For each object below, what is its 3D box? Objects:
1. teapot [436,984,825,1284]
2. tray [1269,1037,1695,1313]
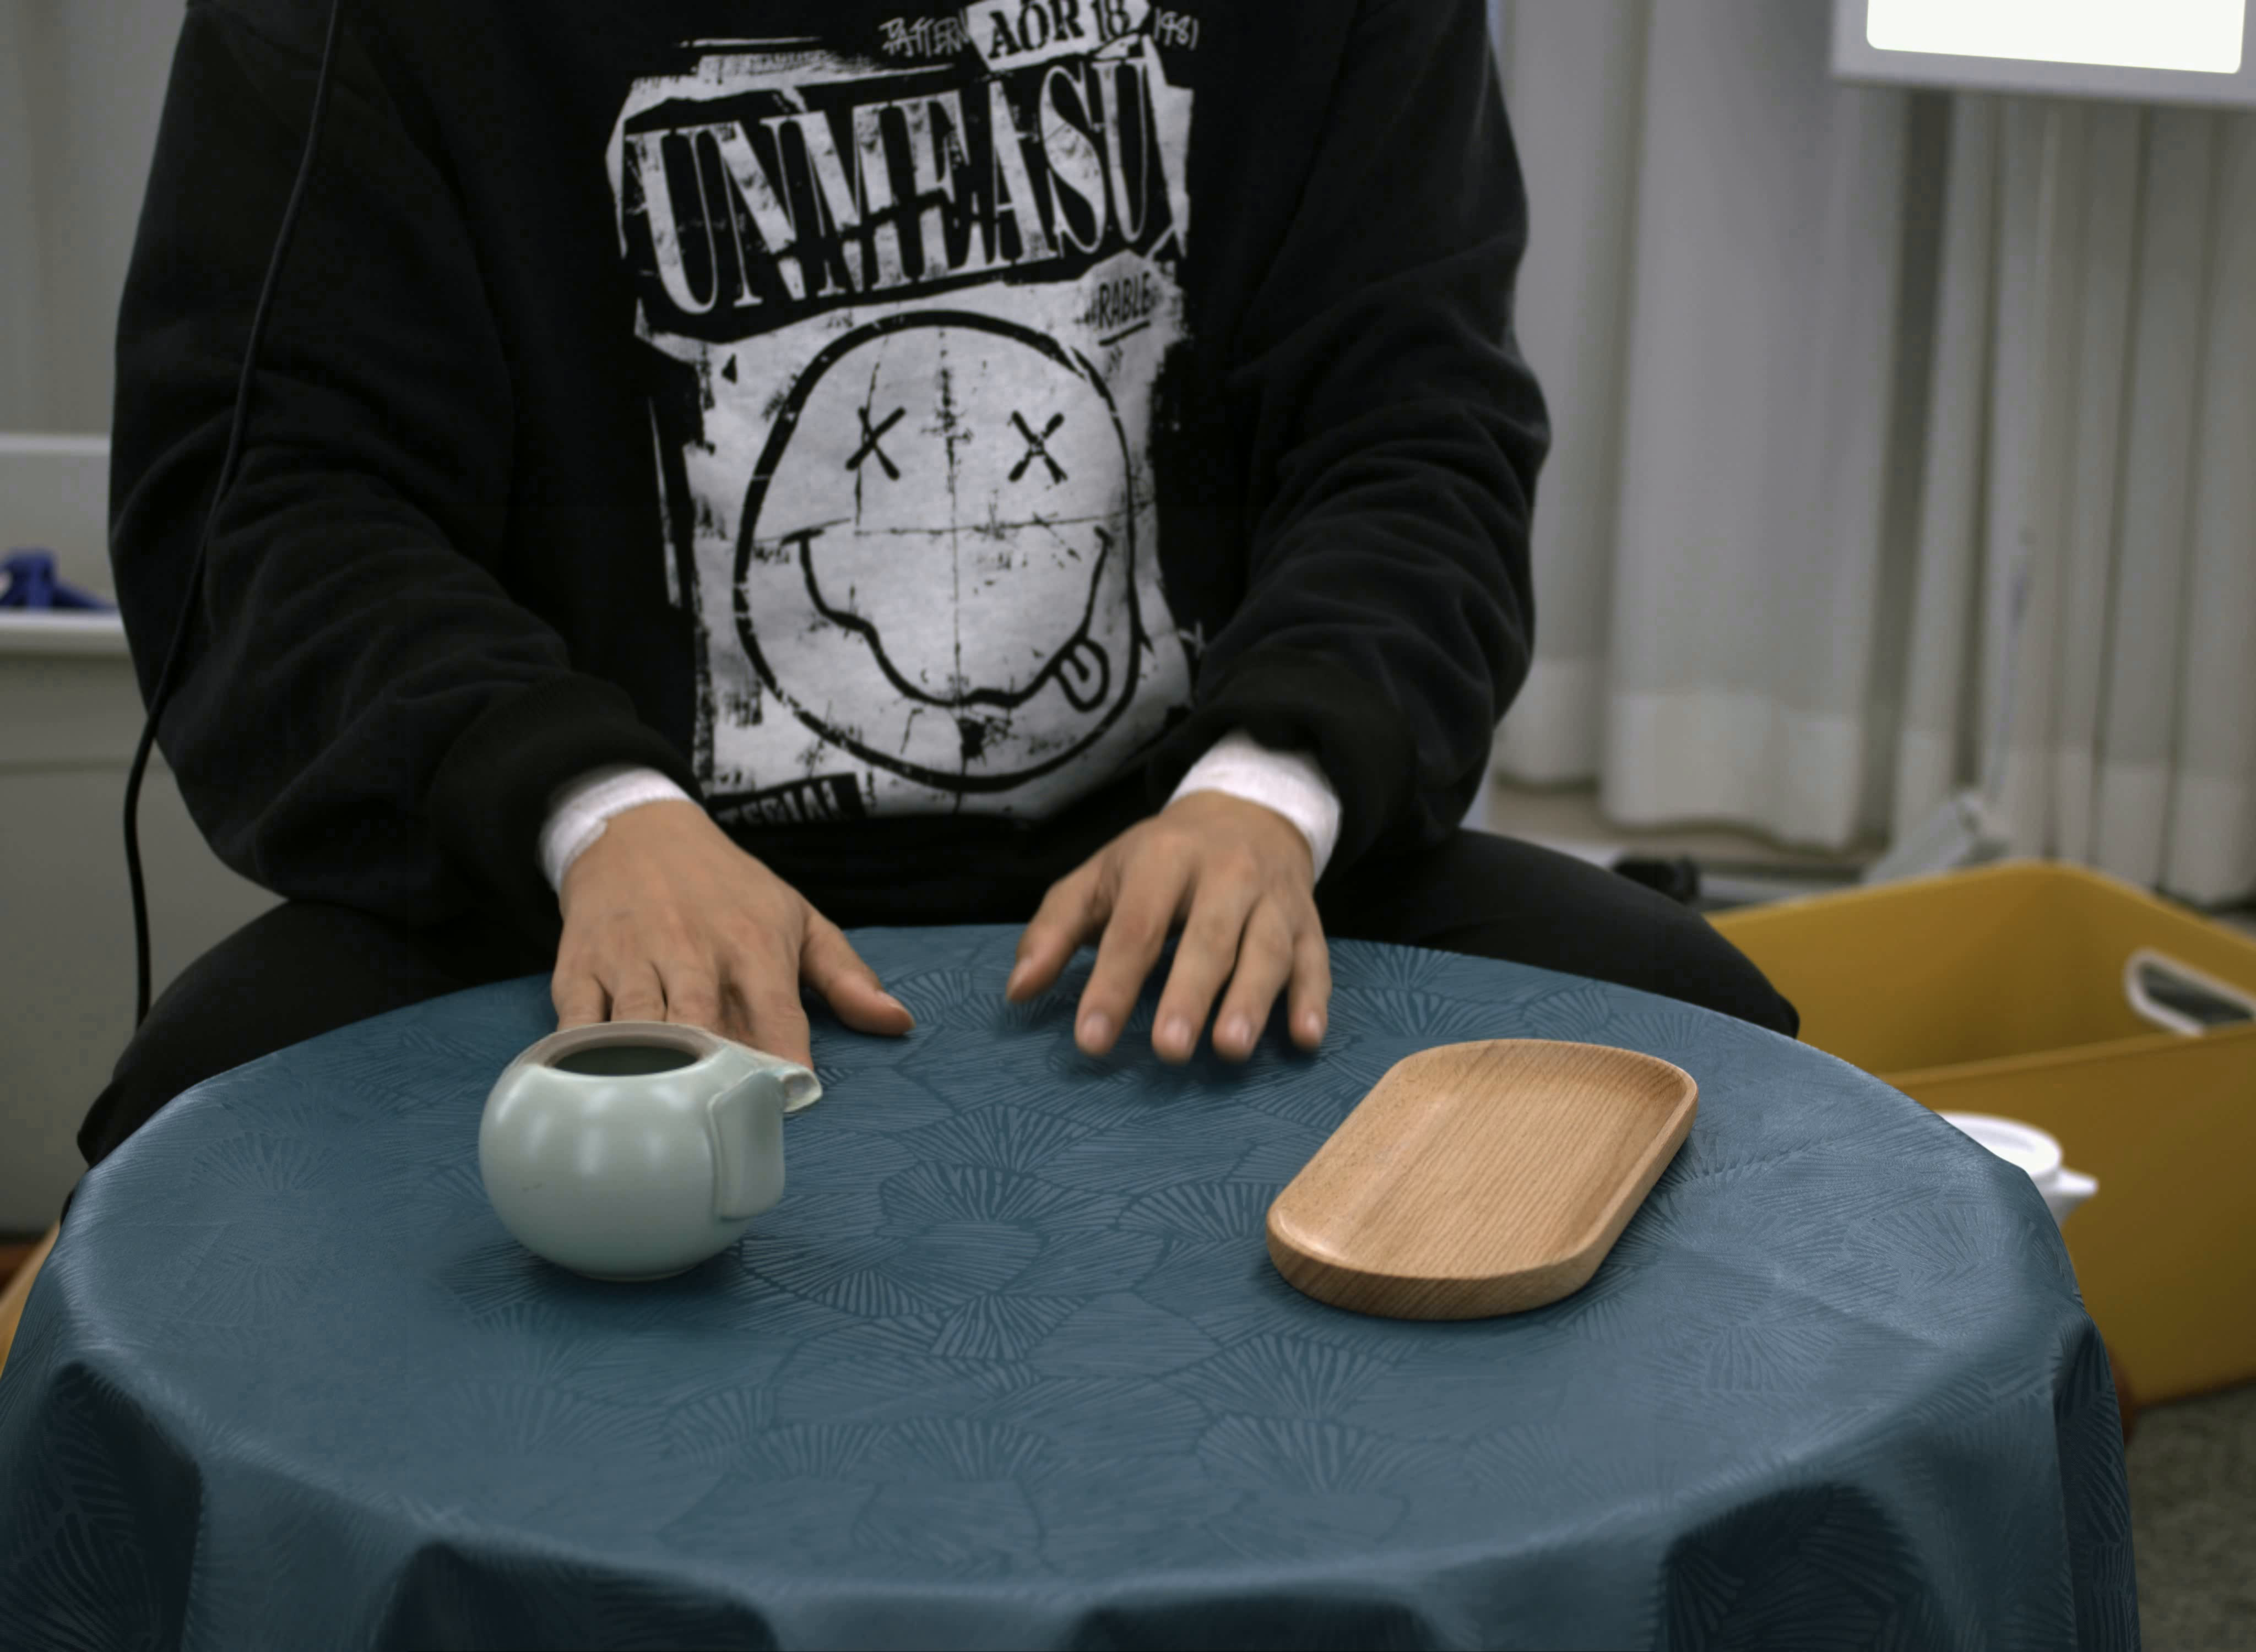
[{"bbox_3d":[-0.147,0.093,1.551,0.142,0.075,0.089,13,20,34],"label":"teapot"},{"bbox_3d":[0.111,0.105,1.622,0.101,0.020,0.231,6,15,16],"label":"tray"}]
